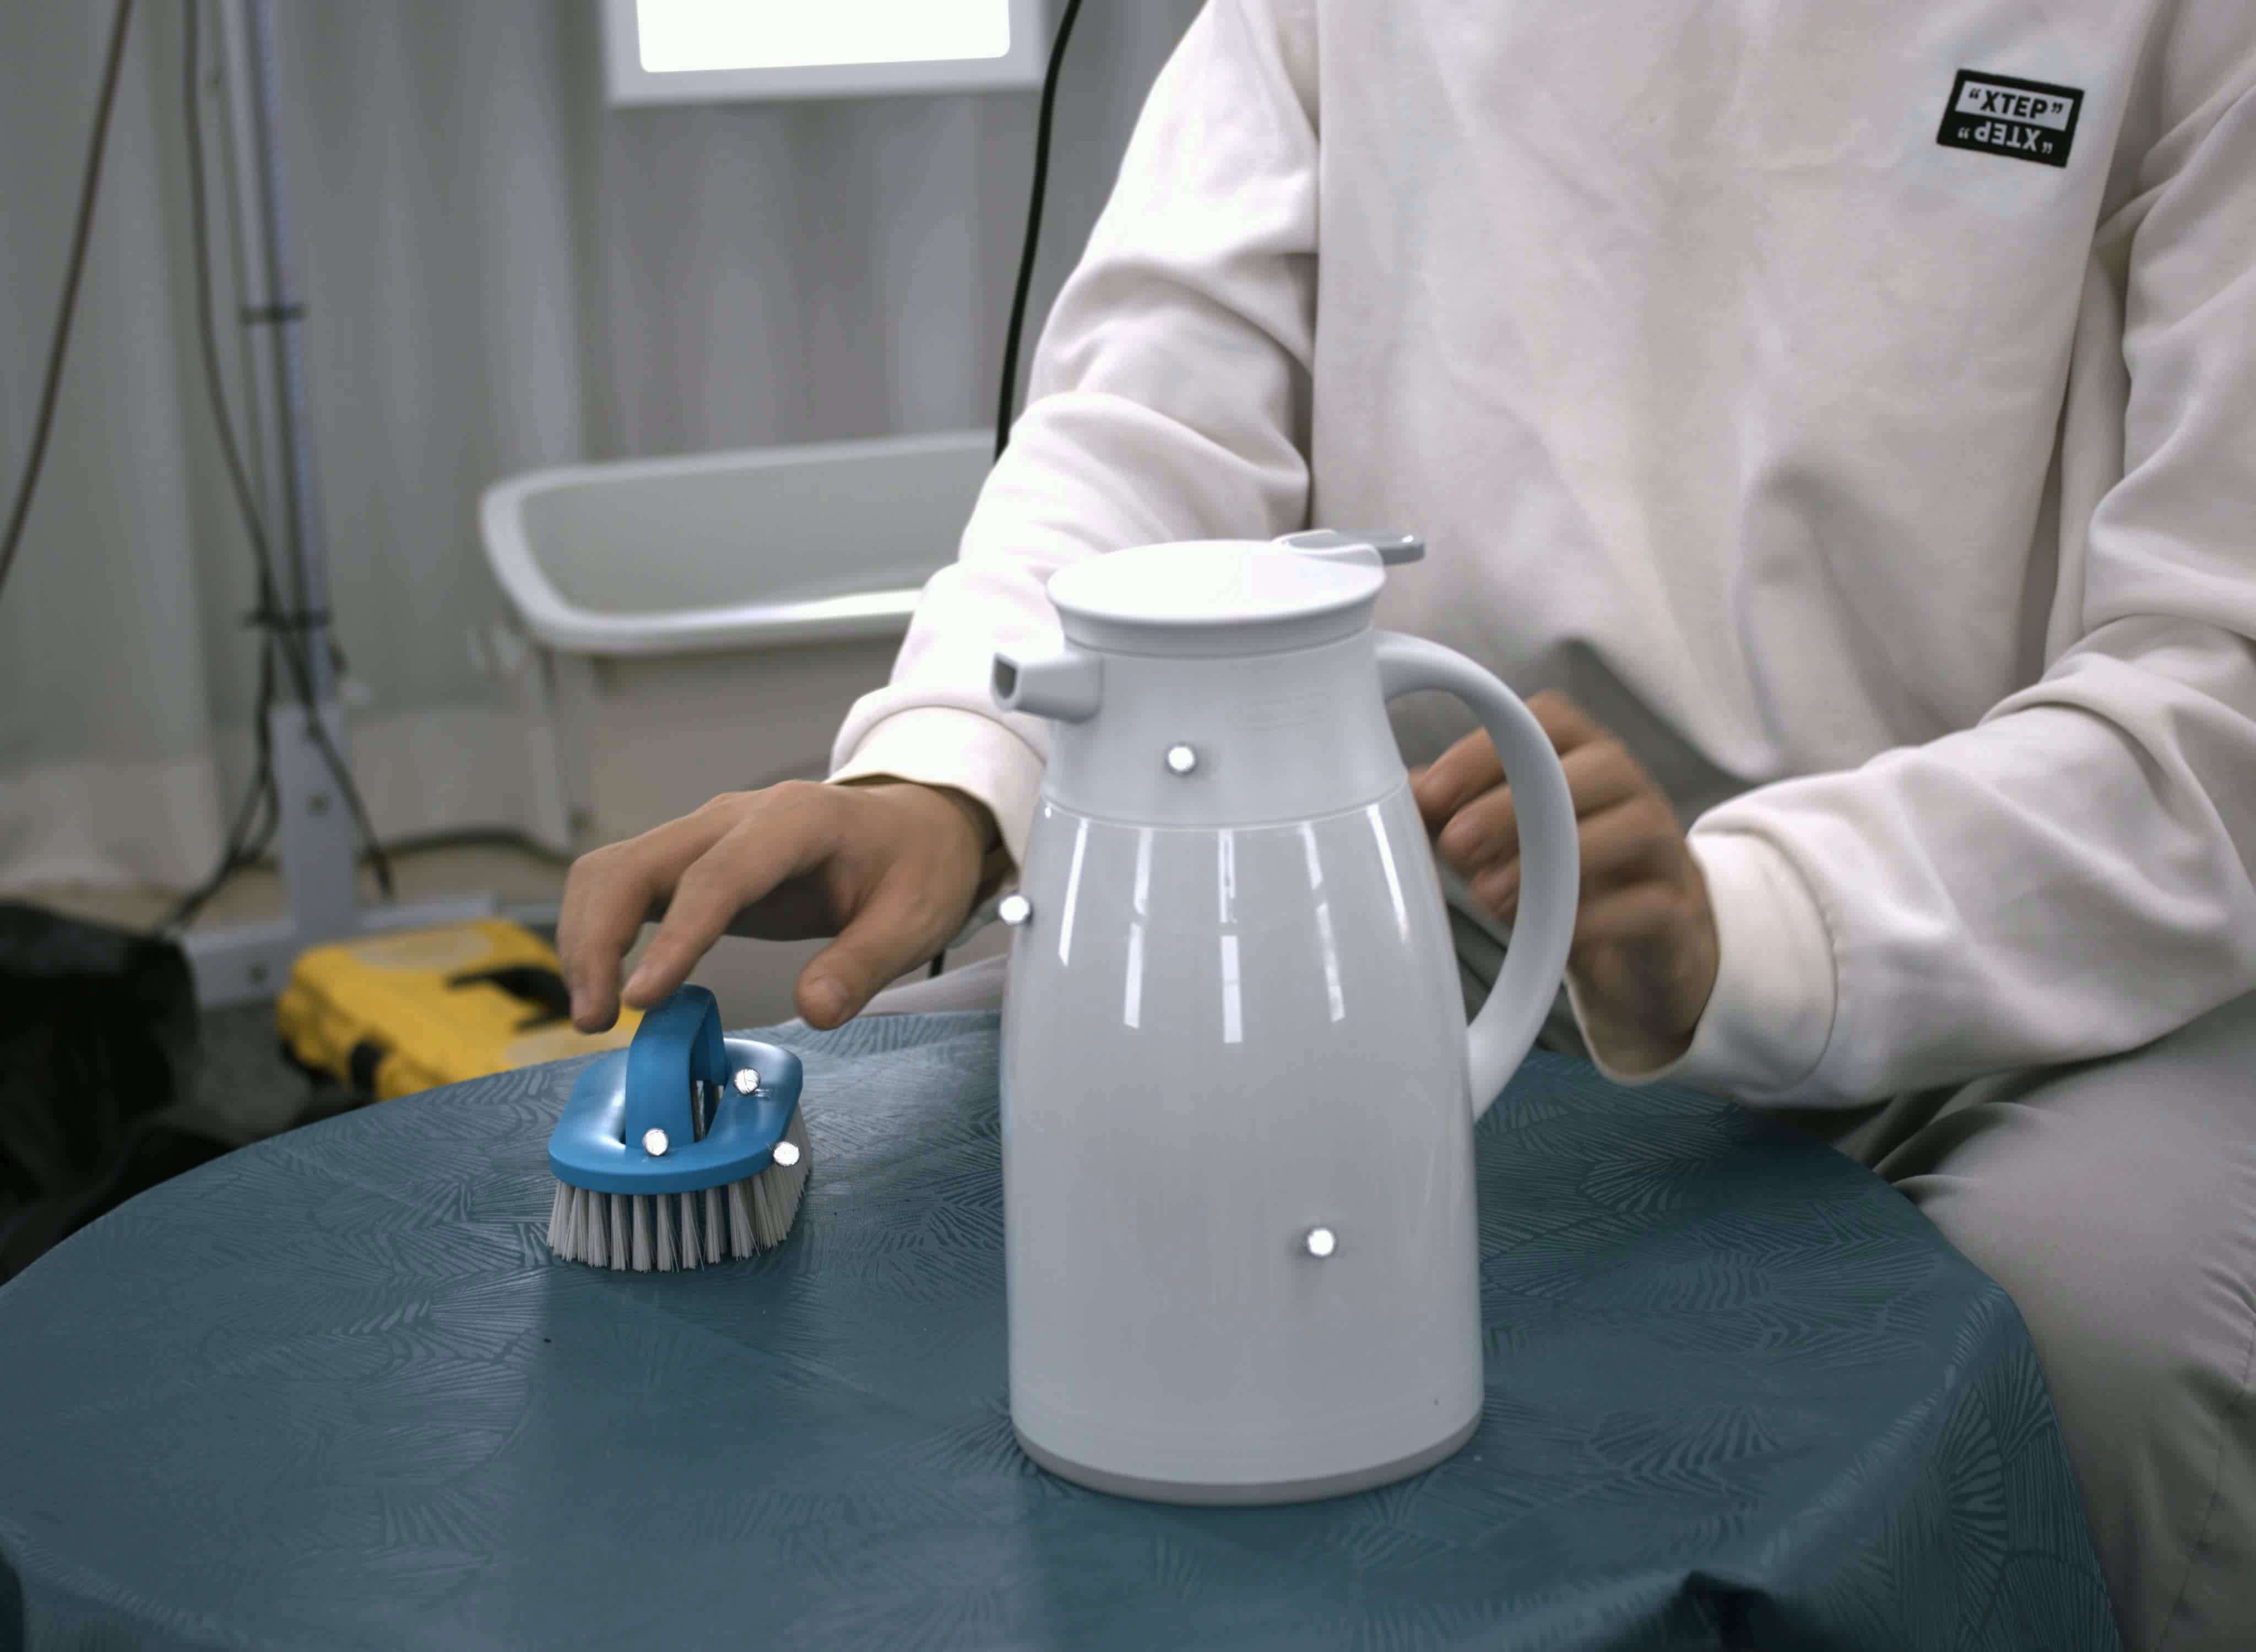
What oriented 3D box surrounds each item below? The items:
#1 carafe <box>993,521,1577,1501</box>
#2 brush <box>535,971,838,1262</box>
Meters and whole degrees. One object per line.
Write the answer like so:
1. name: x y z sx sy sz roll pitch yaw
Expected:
1. carafe: 0.045 0.041 1.501 0.167 0.248 0.133 -8 15 -23
2. brush: -0.140 0.085 1.723 0.084 0.063 0.142 -6 15 7
